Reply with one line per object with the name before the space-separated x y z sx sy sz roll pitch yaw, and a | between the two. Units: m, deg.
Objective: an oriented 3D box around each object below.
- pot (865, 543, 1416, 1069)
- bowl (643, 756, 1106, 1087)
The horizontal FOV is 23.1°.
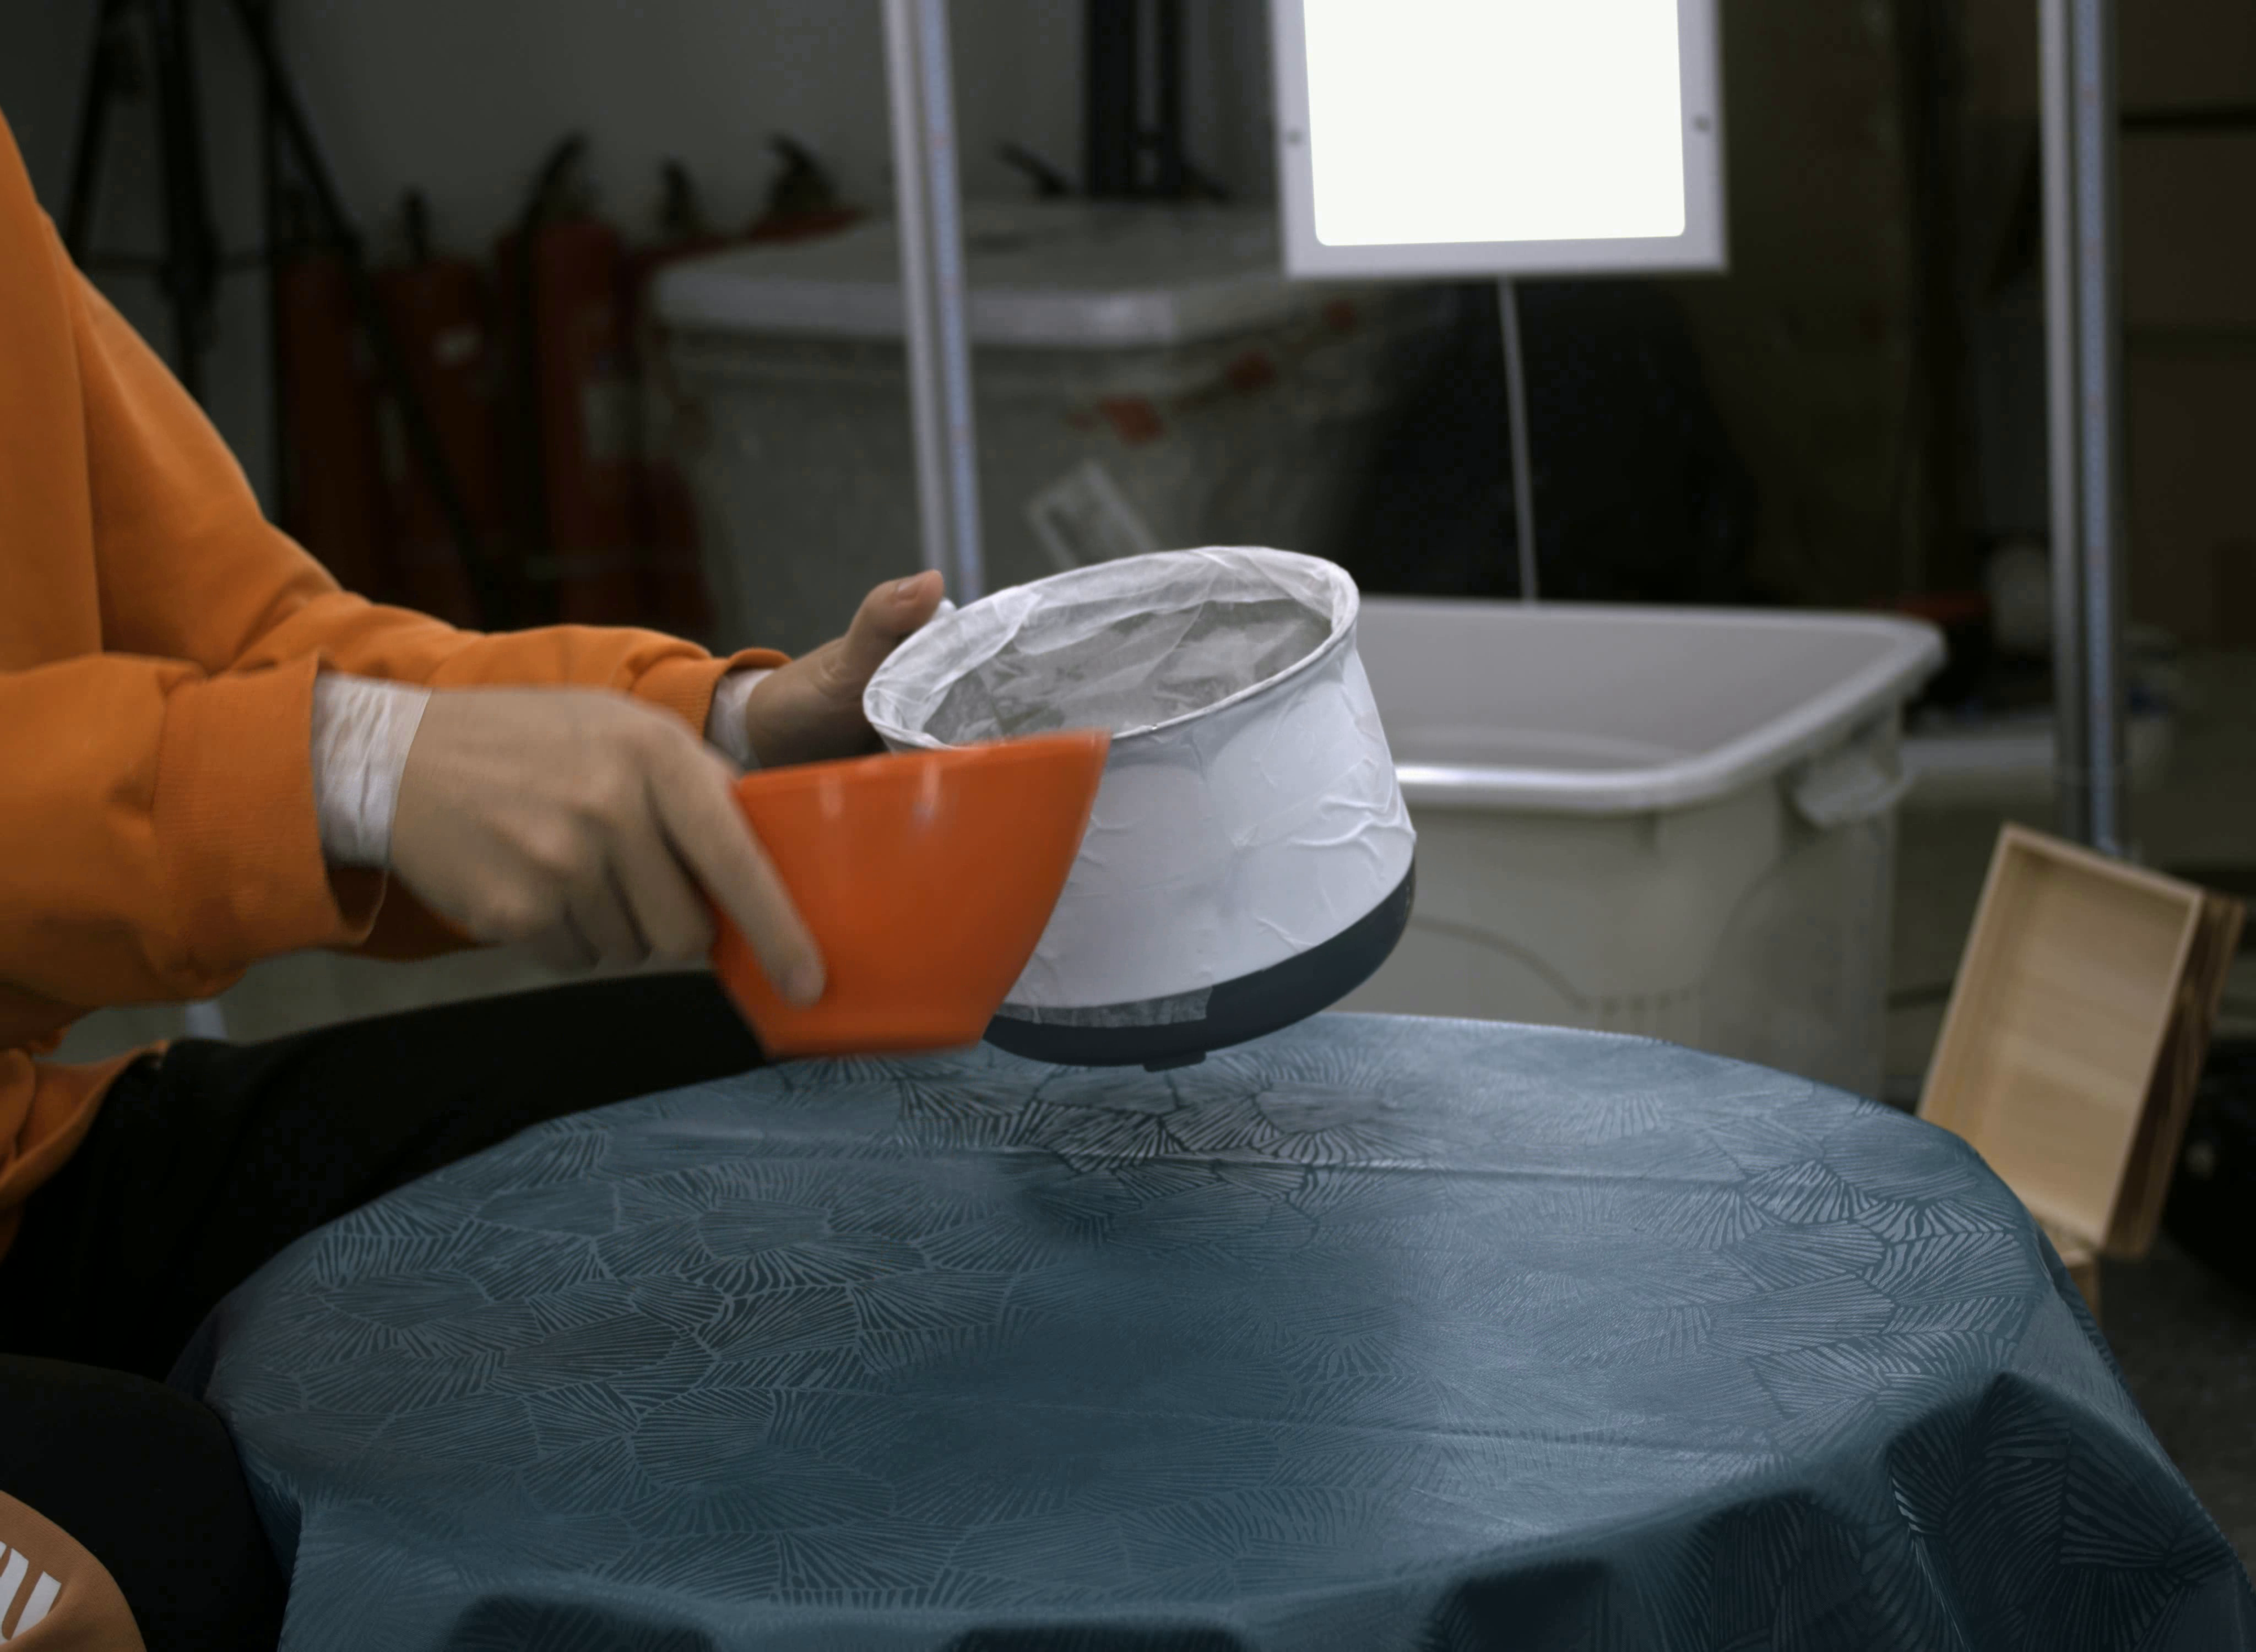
pot | -0.010 -0.010 1.947 0.175 0.137 0.238 -28 26 -34
bowl | -0.078 0.029 1.739 0.147 0.105 0.148 -3 -5 -2
